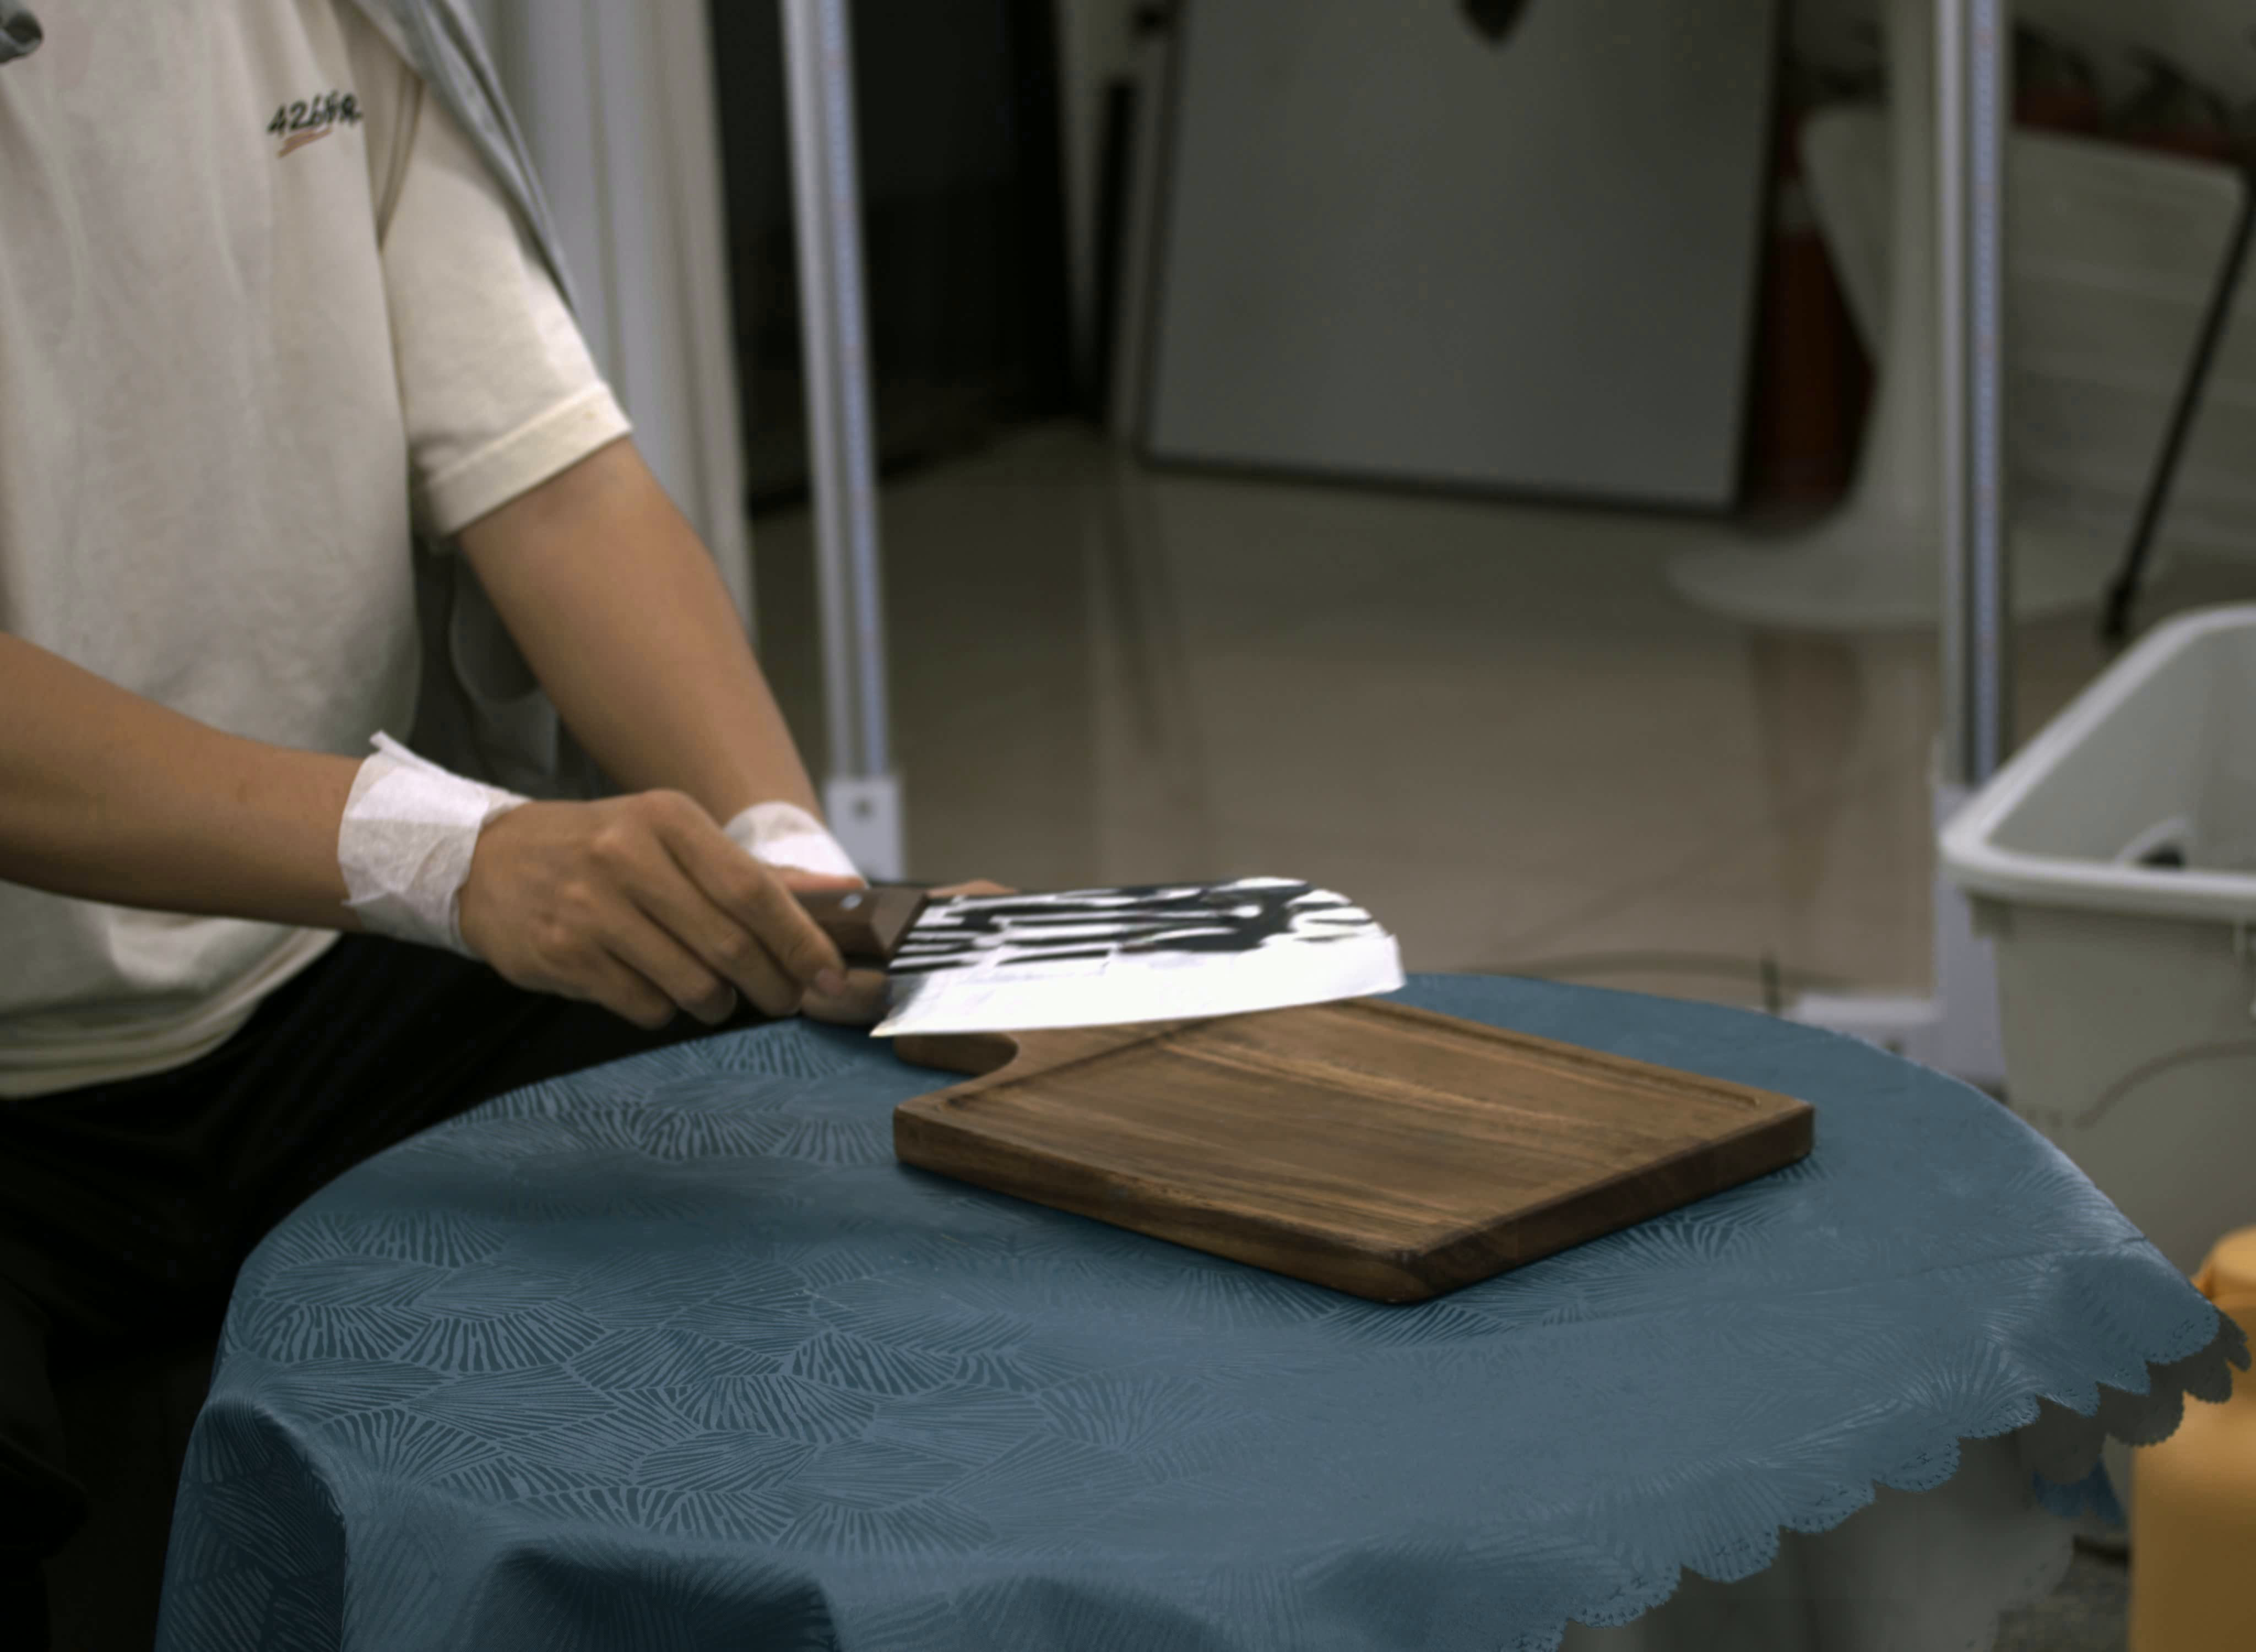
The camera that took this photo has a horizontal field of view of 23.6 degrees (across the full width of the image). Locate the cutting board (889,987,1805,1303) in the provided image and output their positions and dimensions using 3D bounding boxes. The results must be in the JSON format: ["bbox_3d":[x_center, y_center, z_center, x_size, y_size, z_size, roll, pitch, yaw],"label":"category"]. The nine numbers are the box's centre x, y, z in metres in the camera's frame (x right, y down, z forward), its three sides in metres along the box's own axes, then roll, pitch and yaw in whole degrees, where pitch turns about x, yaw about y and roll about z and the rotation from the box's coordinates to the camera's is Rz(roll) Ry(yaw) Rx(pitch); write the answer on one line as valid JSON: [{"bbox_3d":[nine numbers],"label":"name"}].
[{"bbox_3d":[0.039,0.095,1.828,0.197,0.023,0.356,-16,17,-39],"label":"cutting board"}]

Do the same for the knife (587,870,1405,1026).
[{"bbox_3d":[-0.047,0.041,1.755,0.299,0.024,0.068,-3,39,21],"label":"knife"}]
